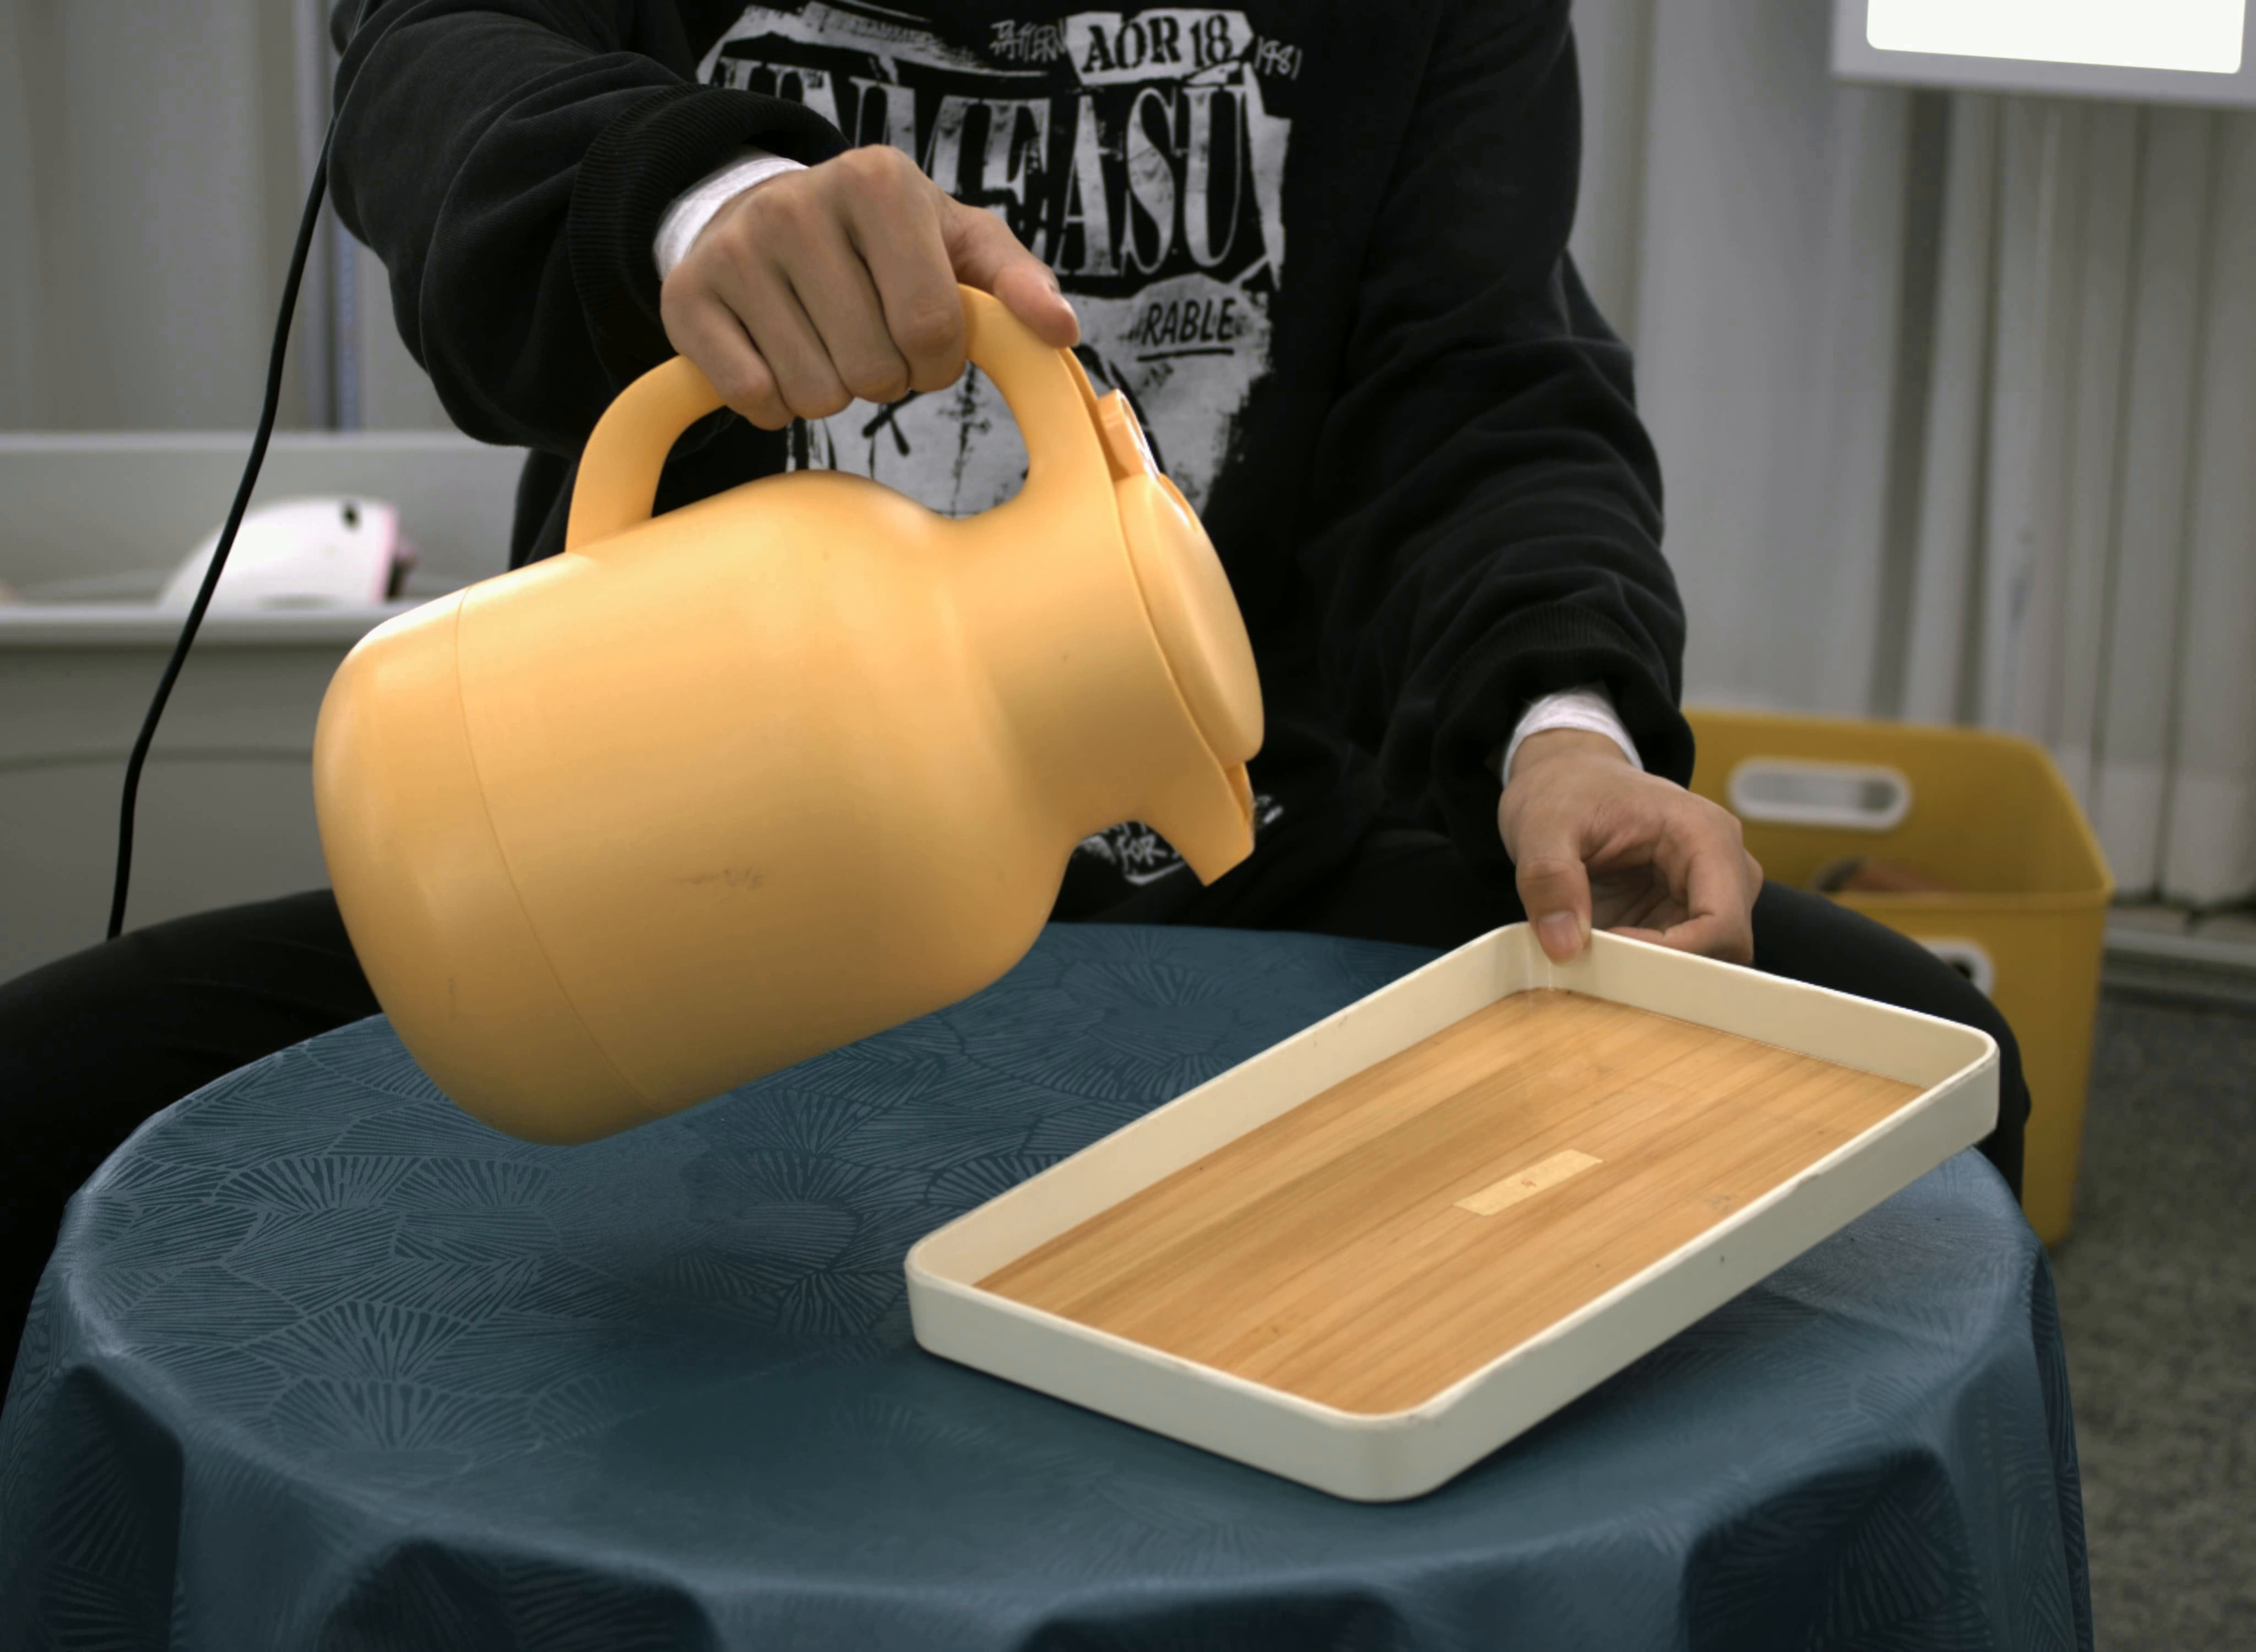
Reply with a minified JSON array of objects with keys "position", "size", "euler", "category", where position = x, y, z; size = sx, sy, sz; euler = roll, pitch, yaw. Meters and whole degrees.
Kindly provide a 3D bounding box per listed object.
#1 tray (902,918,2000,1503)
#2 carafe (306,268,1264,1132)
[{"position":[0.098,0.104,1.532],"size":[0.189,0.028,0.301],"euler":[15,29,40],"category":"tray"},{"position":[-0.098,-0.040,1.496],"size":[0.259,0.203,0.164],"euler":[-19,-1,8],"category":"carafe"}]
